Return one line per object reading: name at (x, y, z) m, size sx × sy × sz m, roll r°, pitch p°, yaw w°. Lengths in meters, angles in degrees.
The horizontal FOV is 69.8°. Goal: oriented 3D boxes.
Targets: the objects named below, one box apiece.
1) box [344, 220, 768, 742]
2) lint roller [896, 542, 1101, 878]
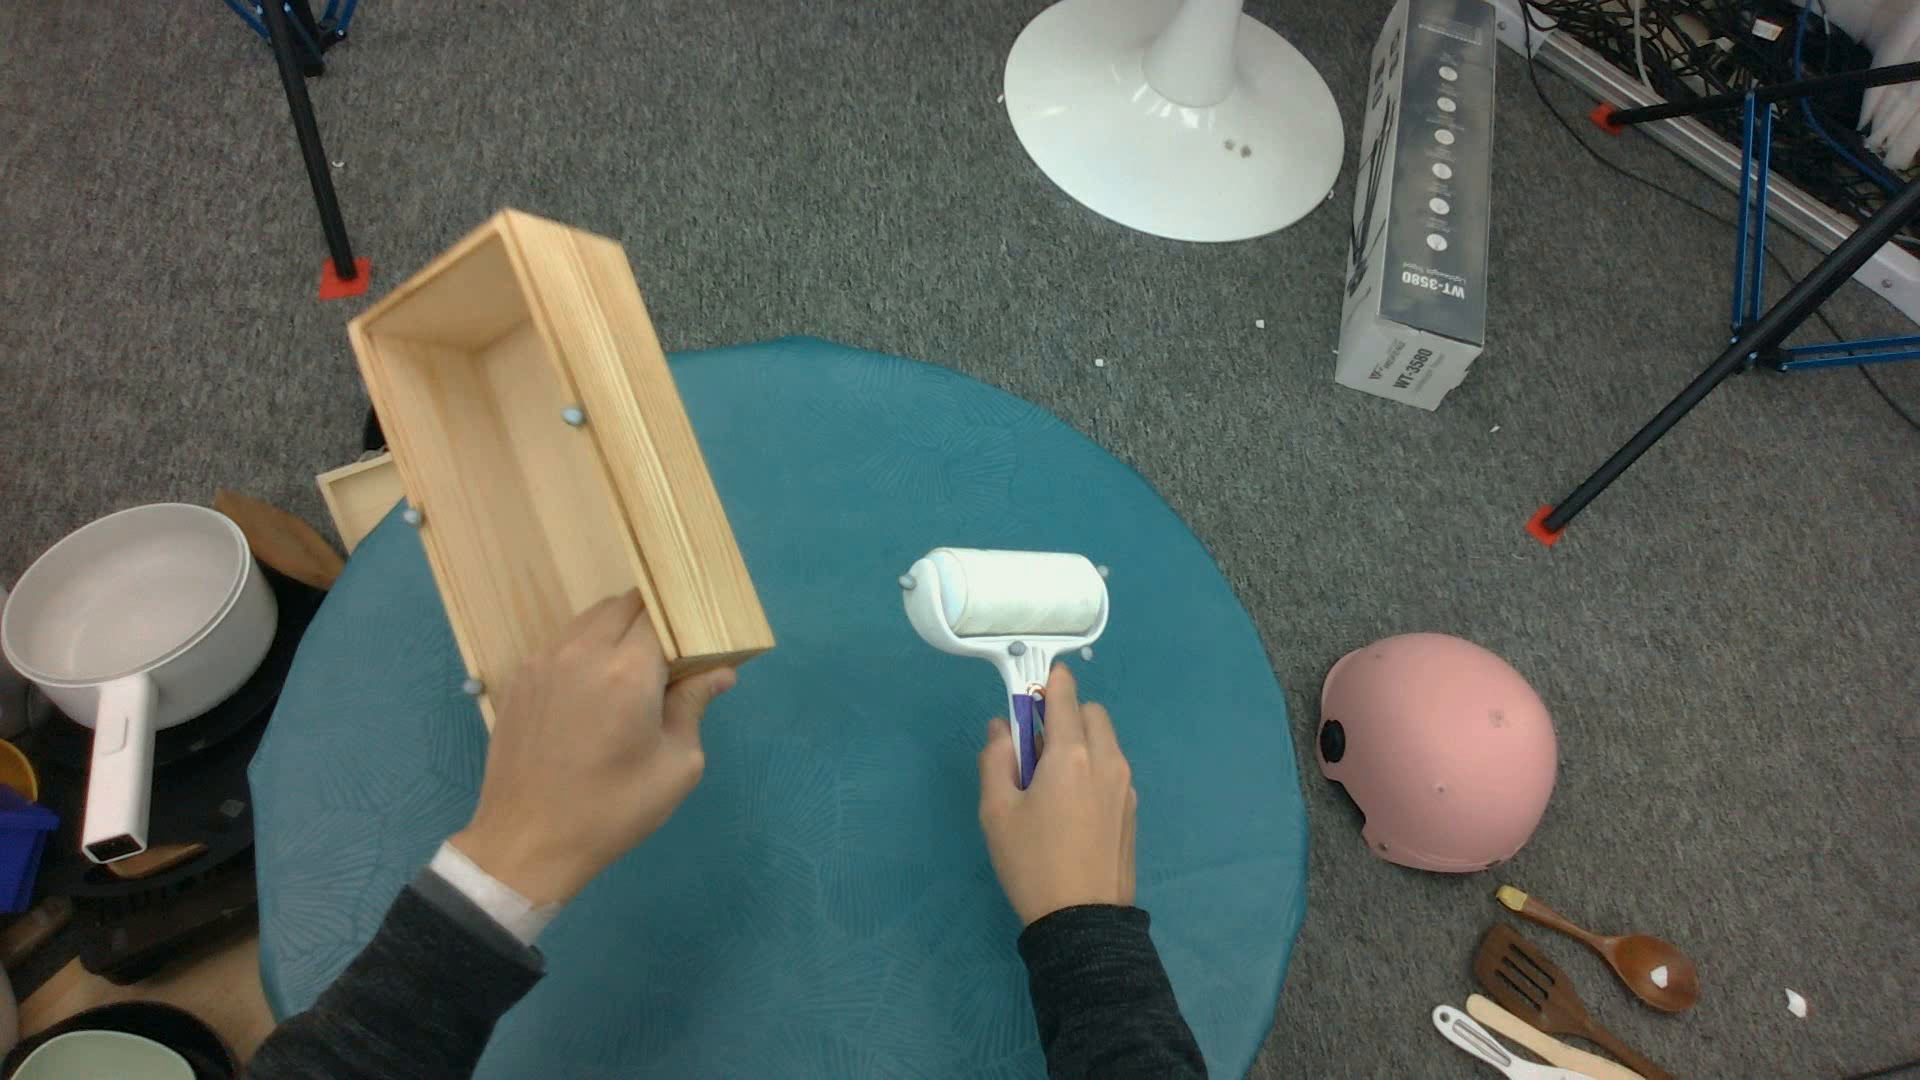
box at (-0.190, -0.026, 0.649) m, size 0.107 × 0.080 × 0.211 m, roll -27°, pitch 80°, yaw 18°
lint roller at (0.038, 0.084, 0.728) m, size 0.133 × 0.050 × 0.181 m, roll 5°, pitch 60°, yaw -41°
